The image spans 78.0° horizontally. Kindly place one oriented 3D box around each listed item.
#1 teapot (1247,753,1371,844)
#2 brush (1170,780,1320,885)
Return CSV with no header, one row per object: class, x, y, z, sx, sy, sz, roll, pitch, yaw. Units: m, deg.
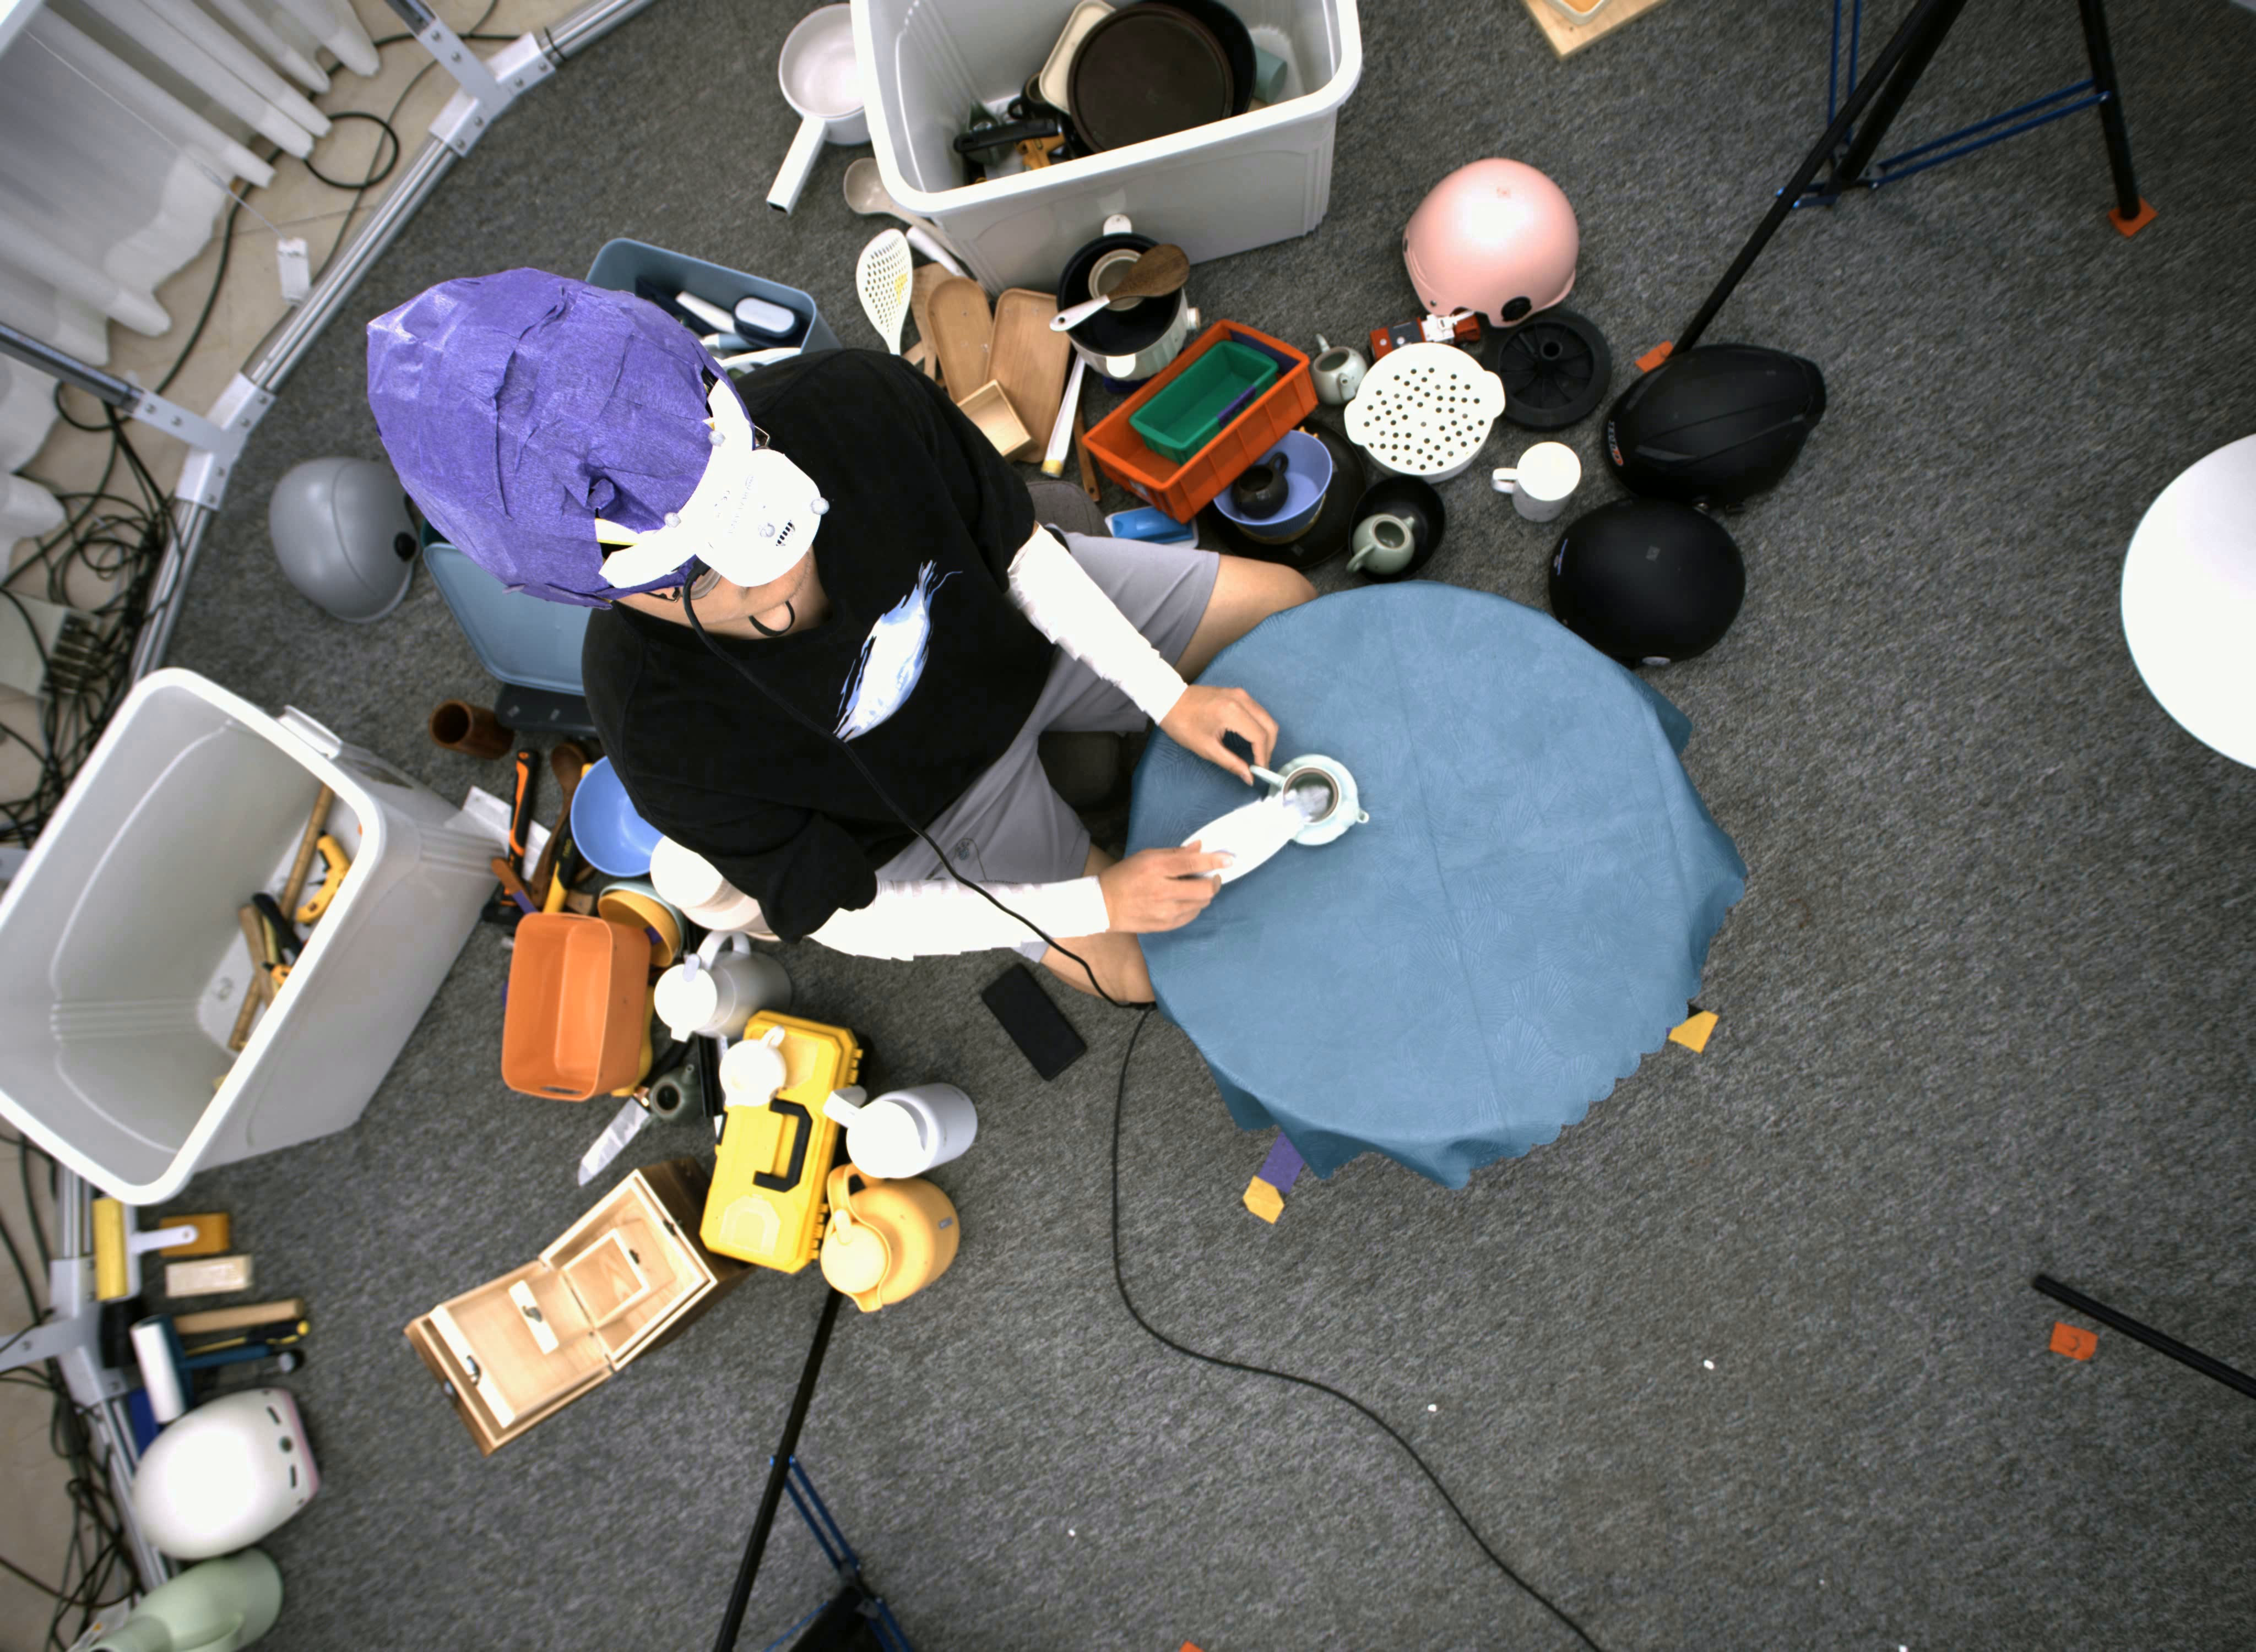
teapot,0.190,-0.032,1.449,0.137,0.061,0.096,22,93,11
brush,0.114,0.008,1.401,0.179,0.092,0.061,-32,96,33
